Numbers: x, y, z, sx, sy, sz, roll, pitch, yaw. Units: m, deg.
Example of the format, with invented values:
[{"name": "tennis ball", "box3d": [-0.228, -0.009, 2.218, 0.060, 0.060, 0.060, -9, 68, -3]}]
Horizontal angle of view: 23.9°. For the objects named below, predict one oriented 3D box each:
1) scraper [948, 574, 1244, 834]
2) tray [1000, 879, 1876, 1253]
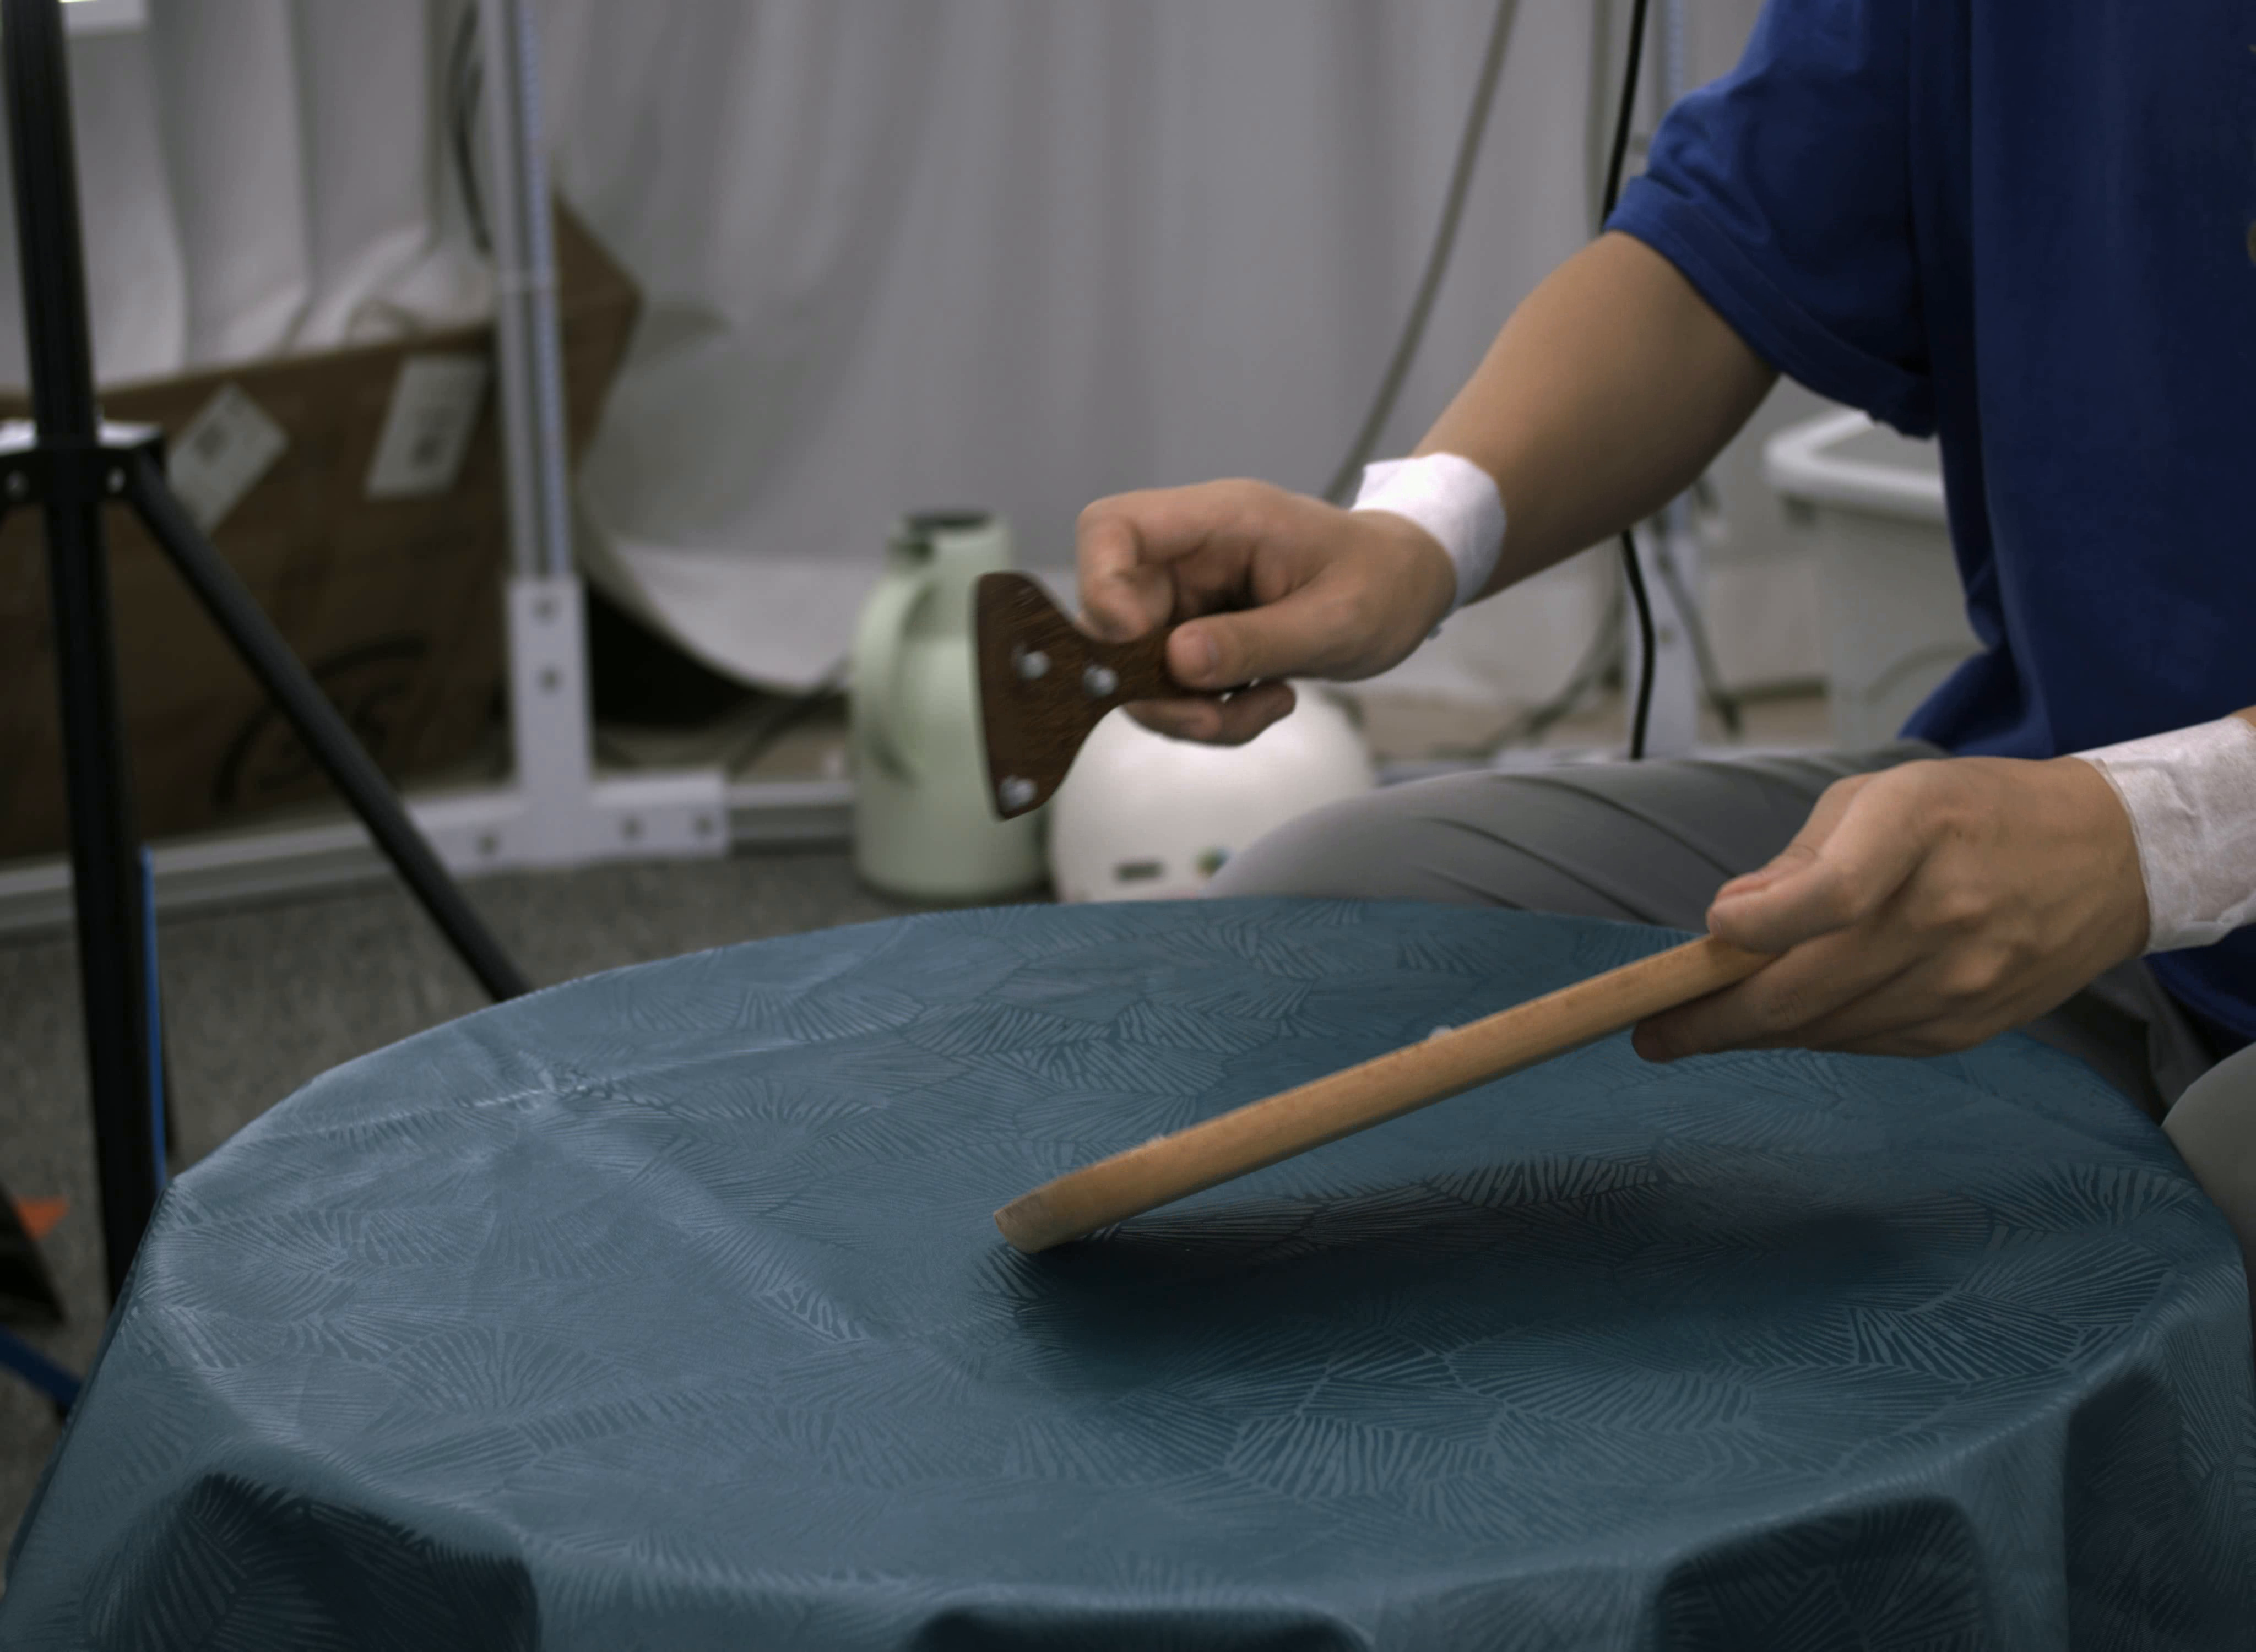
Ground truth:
[{"name": "scraper", "box3d": [-0.008, -0.045, 1.641, 0.011, 0.076, 0.207, -4, 4, 26]}, {"name": "tray", "box3d": [0.087, 0.069, 1.488, 0.248, 0.023, 0.131, -19, -1, -11]}]
